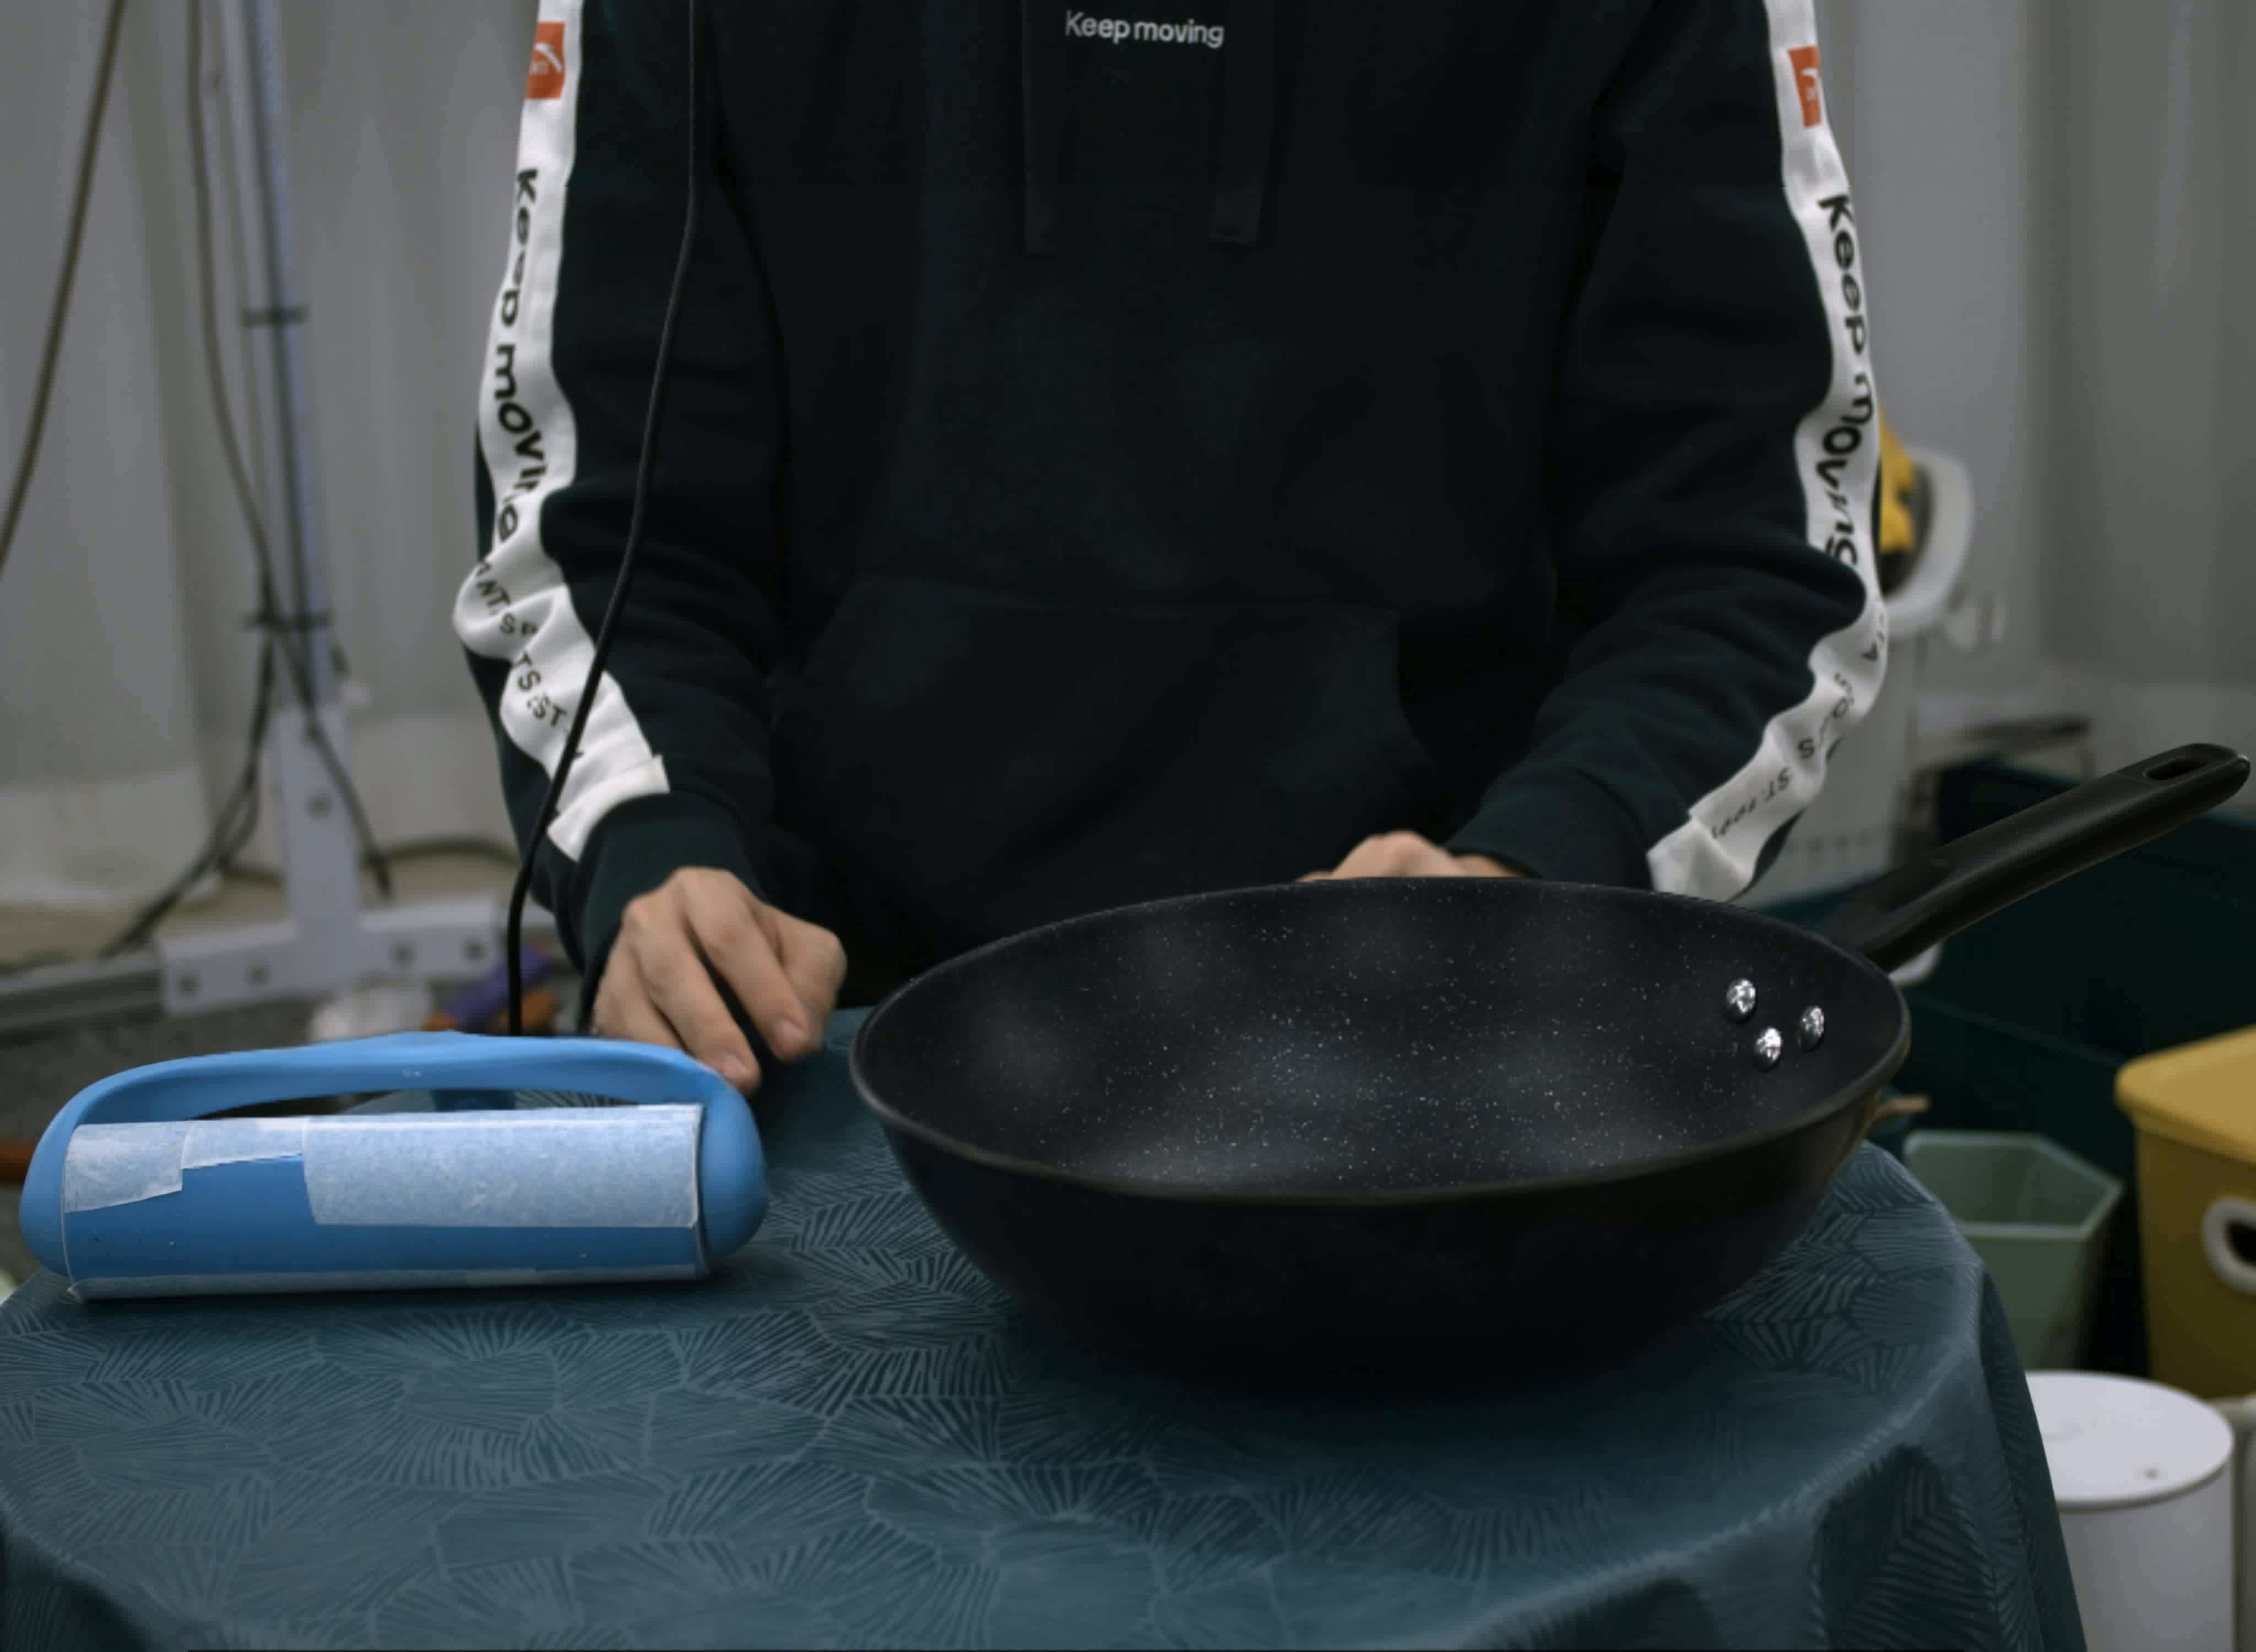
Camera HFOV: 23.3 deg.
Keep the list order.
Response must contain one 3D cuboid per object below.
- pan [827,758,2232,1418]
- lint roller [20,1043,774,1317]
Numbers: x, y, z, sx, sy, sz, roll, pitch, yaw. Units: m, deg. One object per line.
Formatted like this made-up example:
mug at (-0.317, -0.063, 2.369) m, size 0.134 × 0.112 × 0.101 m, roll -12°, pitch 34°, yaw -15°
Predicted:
pan at (0.140, 0.075, 1.631) m, size 0.475 × 0.111 × 0.313 m, roll -12°, pitch 19°, yaw -28°
lint roller at (-0.222, 0.099, 1.712) m, size 0.228 × 0.067 × 0.181 m, roll -5°, pitch 16°, yaw 0°
